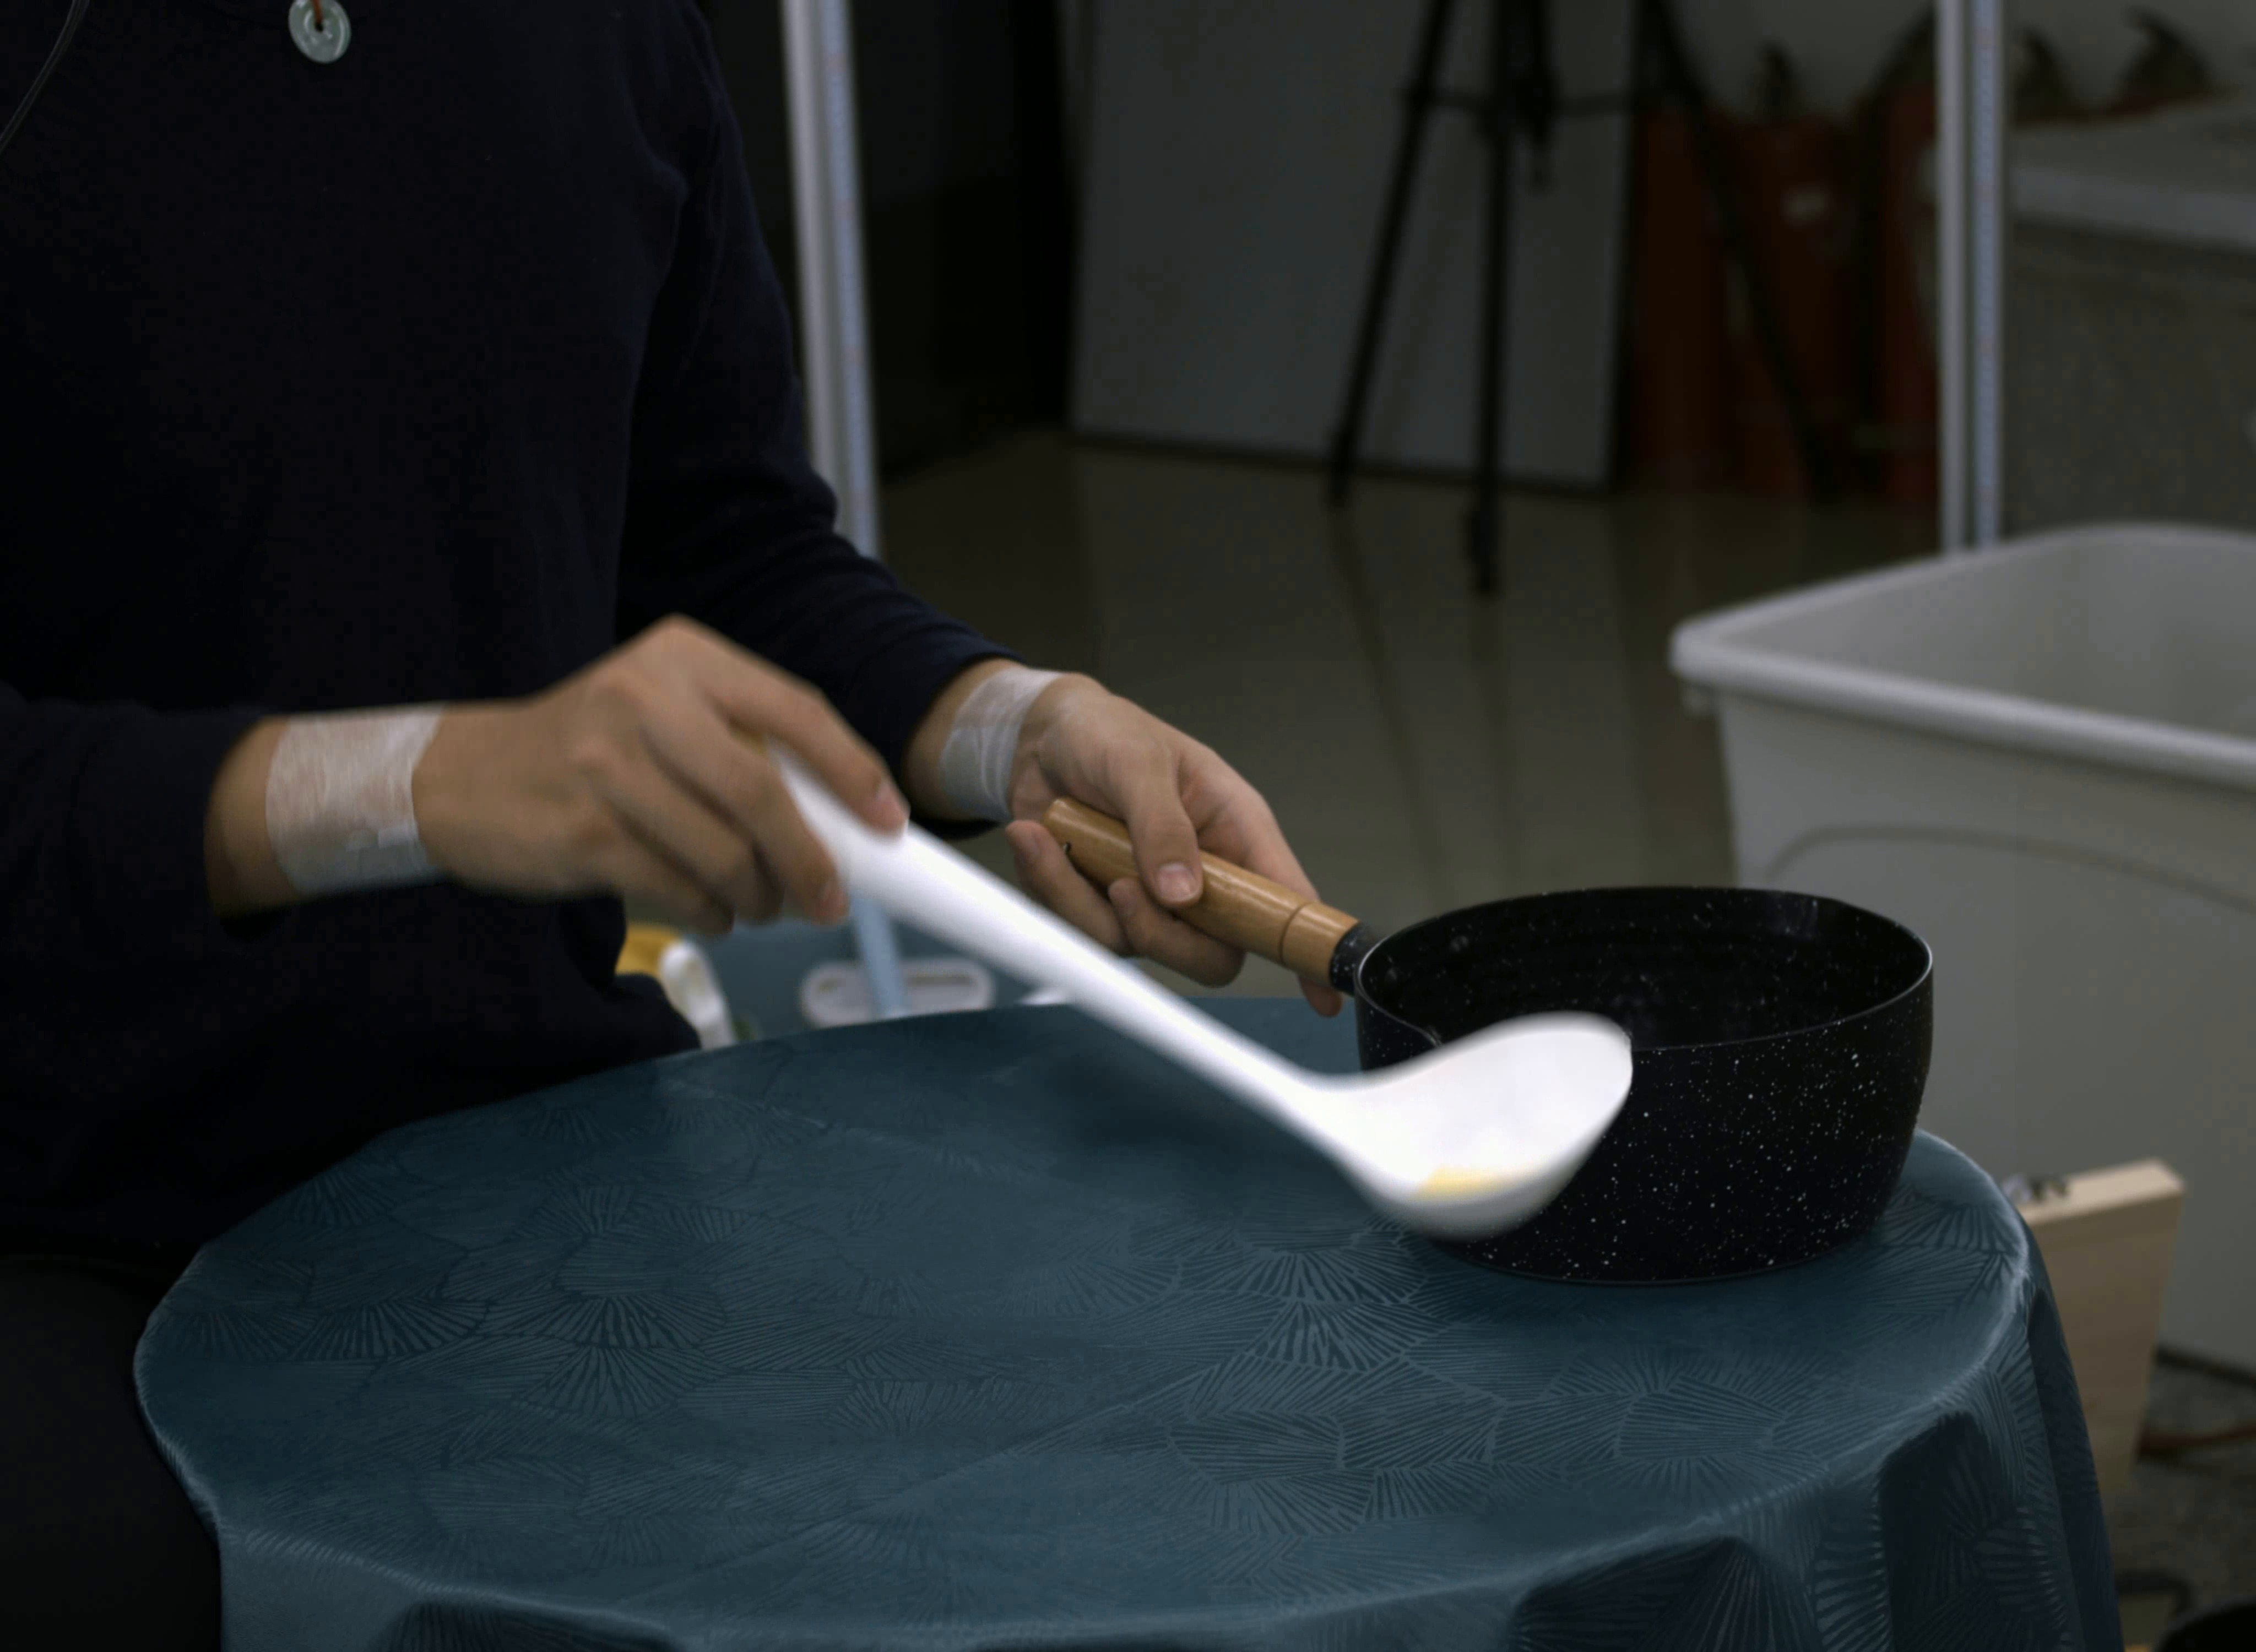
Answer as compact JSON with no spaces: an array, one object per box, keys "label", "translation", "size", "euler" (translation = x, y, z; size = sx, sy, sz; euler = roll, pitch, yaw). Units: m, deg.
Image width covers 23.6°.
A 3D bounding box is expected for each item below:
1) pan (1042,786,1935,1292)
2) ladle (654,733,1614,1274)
[{"label":"pan","translation":[0.103,0.062,1.753],"size":[0.345,0.109,0.203],"euler":[9,20,40]},{"label":"ladle","translation":[-0.003,0.042,1.529],"size":[0.293,0.070,0.089],"euler":[28,50,13]}]
